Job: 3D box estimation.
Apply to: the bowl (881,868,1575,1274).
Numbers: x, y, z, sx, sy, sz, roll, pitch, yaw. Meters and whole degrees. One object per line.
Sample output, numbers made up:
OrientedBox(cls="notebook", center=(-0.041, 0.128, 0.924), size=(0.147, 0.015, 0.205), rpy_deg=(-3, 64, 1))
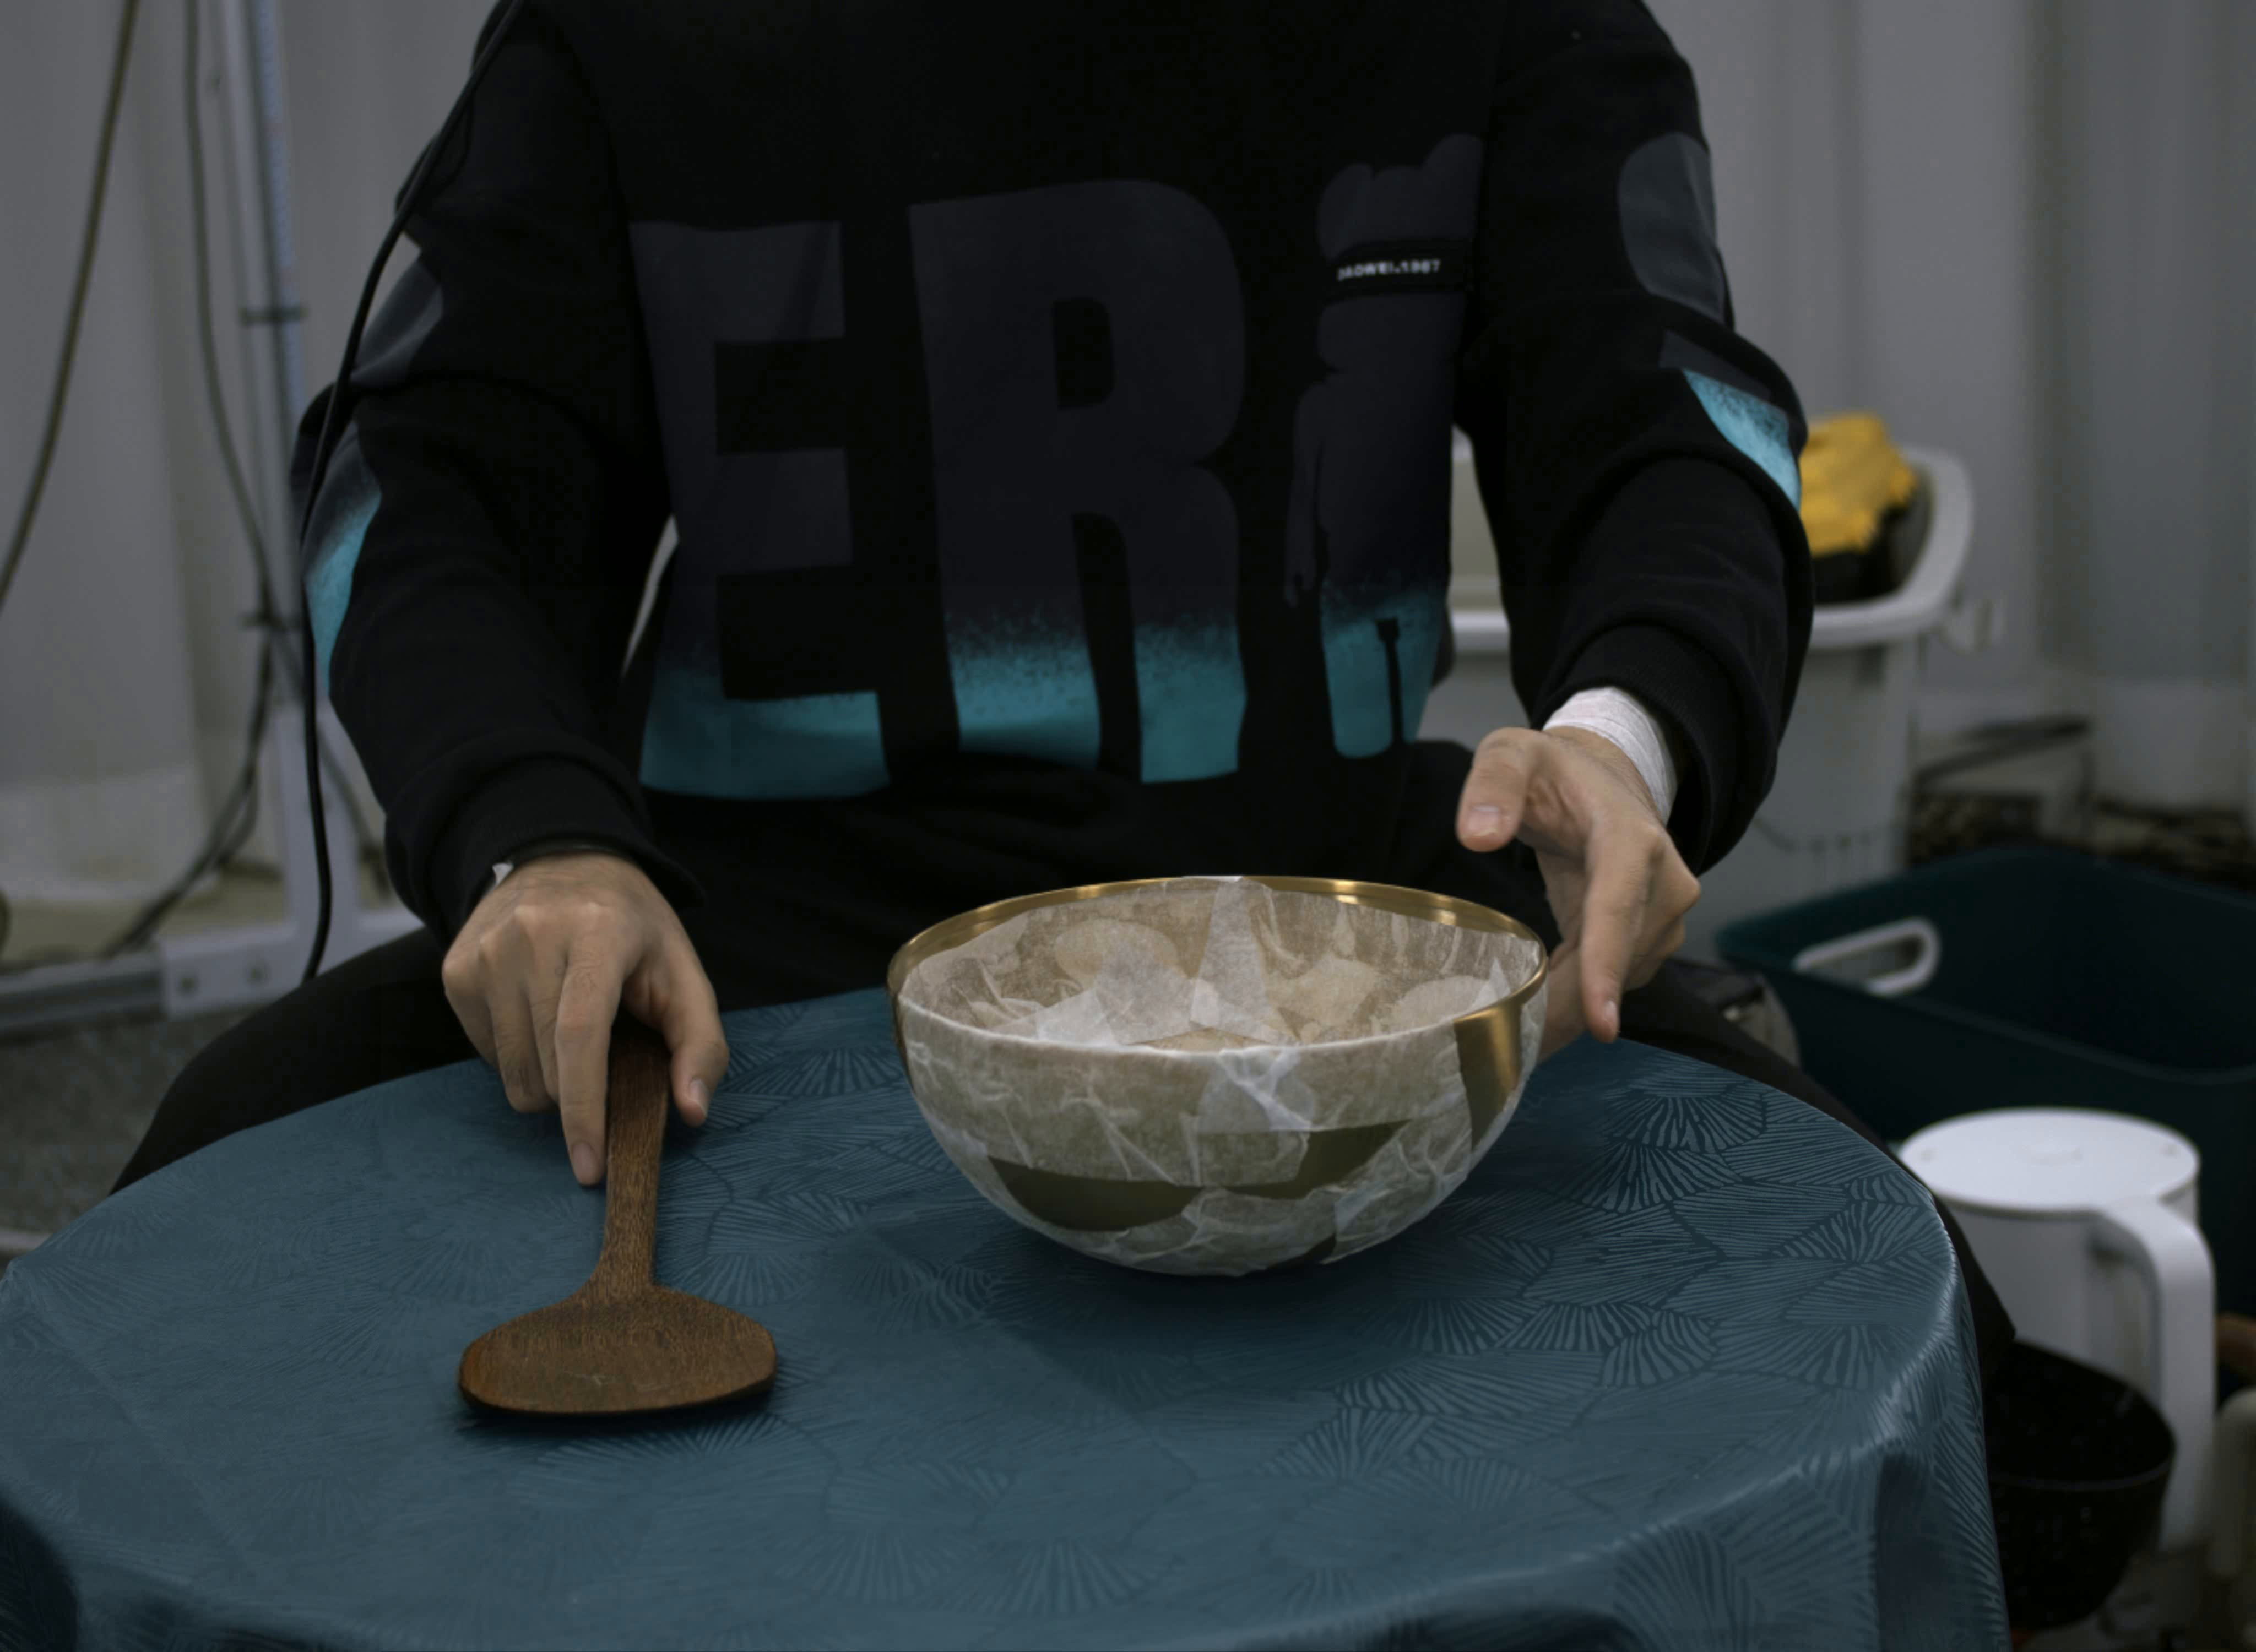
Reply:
OrientedBox(cls="bowl", center=(0.031, 0.081, 1.651), size=(0.214, 0.094, 0.216), rpy_deg=(-2, 12, 0))

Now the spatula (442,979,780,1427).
OrientedBox(cls="spatula", center=(-0.155, 0.111, 1.712), size=(0.096, 0.016, 0.389), rpy_deg=(-3, 17, -2))
